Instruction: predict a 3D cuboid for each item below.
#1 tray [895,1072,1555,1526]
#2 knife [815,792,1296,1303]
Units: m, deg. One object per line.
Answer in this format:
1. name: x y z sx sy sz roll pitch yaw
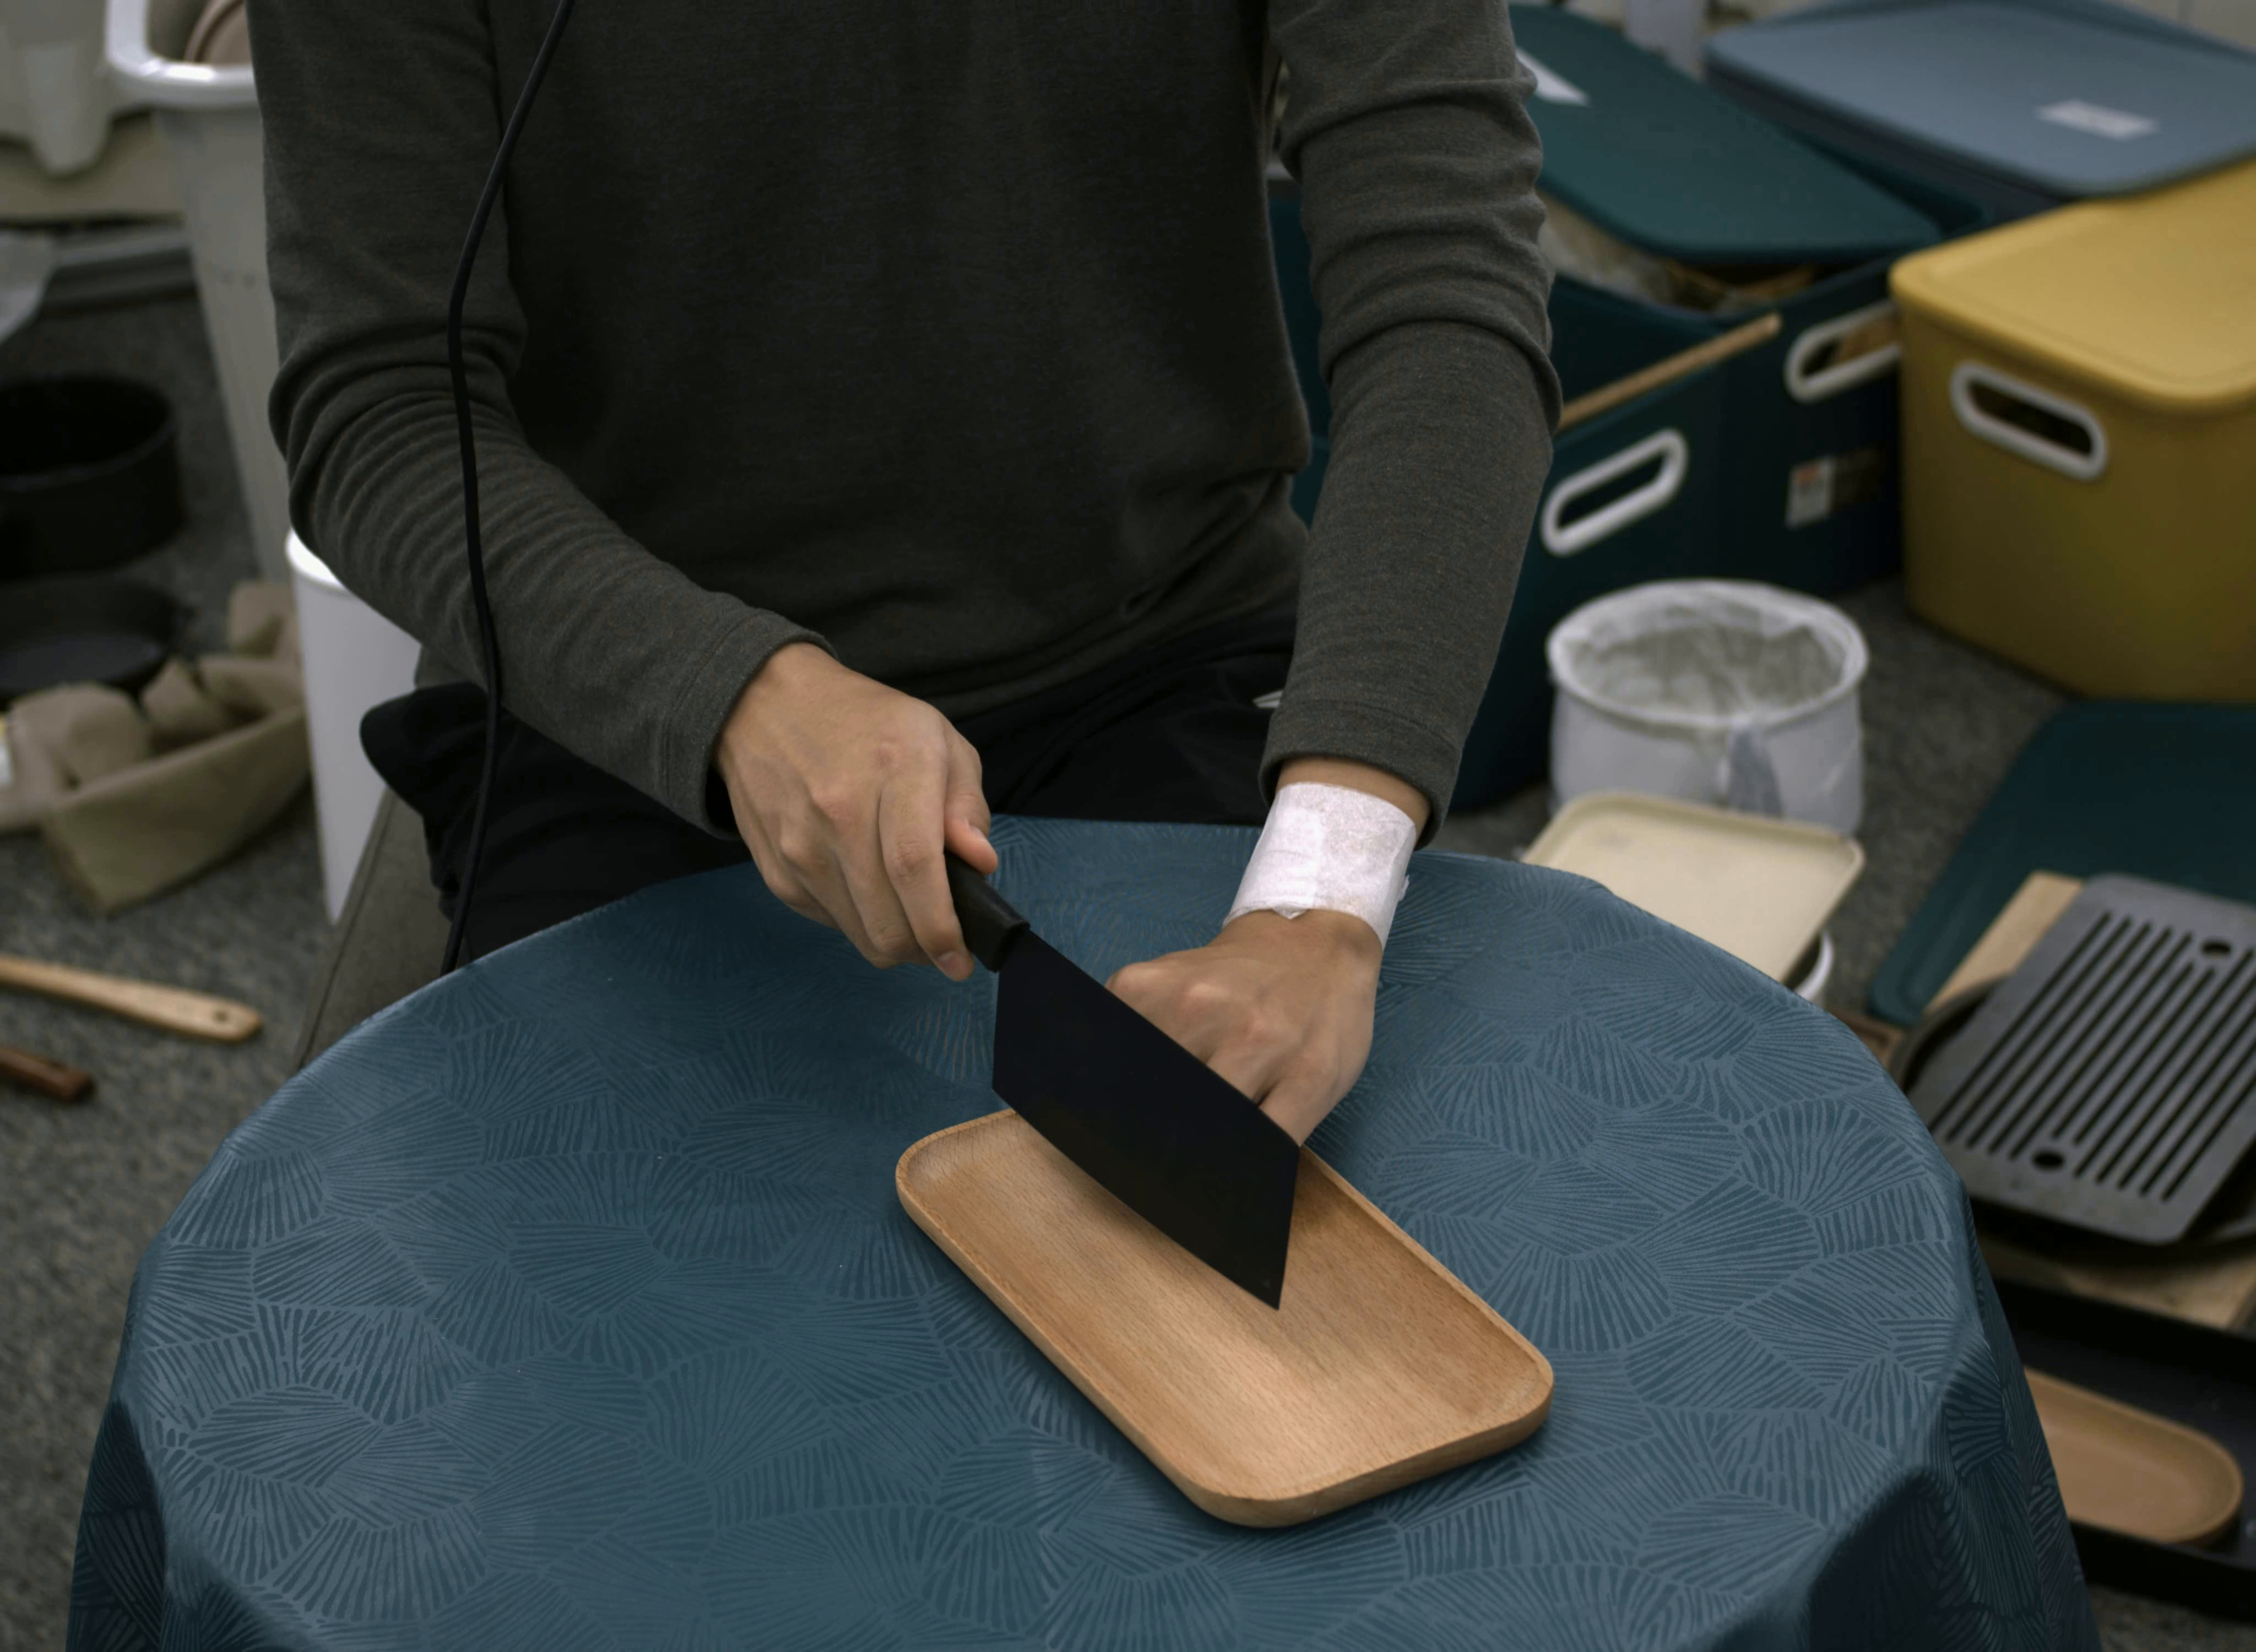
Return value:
1. tray: 0.027 0.147 1.793 0.131 0.022 0.252 -13 28 -24
2. knife: -0.026 0.064 1.832 0.021 0.080 0.304 -6 28 -31
